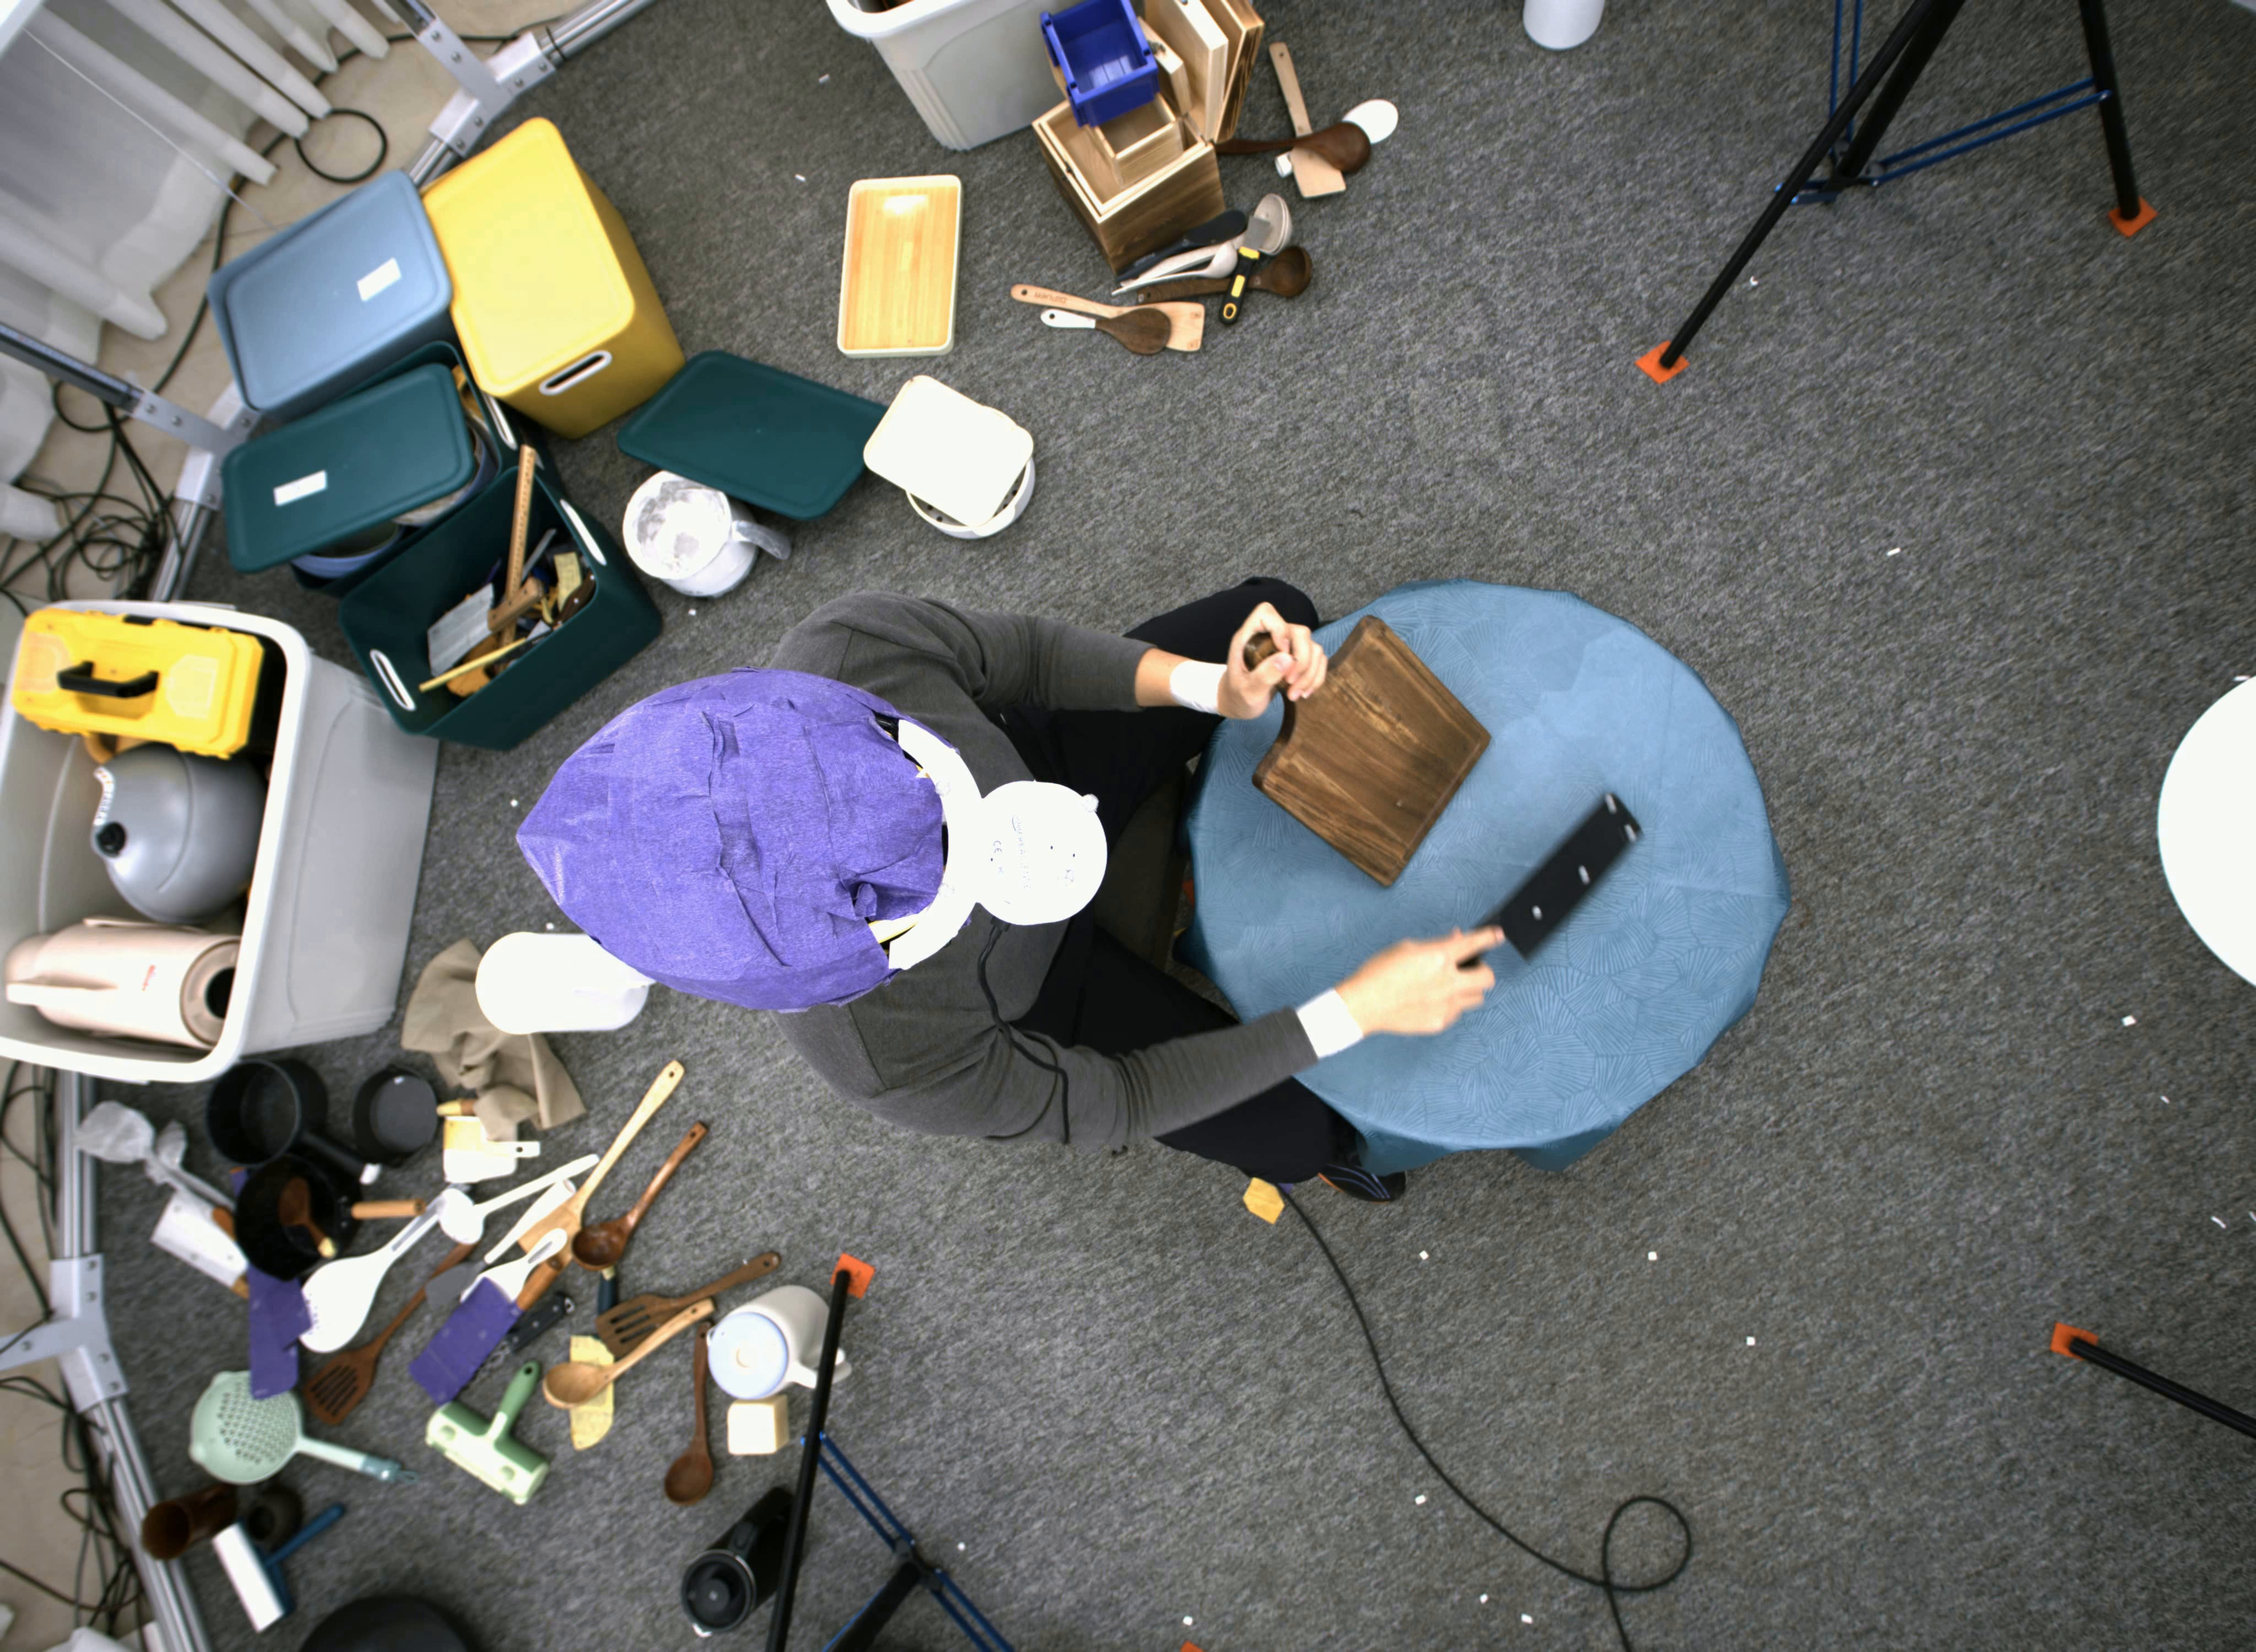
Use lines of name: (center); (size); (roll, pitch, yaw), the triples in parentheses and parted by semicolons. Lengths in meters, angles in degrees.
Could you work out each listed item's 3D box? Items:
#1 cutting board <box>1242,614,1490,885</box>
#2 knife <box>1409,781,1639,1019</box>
cutting board: (0.219, -0.089, 1.328); (0.201, 0.355, 0.023); (-55, 43, 2)
knife: (0.388, 0.076, 1.350); (0.301, 0.021, 0.082); (-42, 111, -4)
